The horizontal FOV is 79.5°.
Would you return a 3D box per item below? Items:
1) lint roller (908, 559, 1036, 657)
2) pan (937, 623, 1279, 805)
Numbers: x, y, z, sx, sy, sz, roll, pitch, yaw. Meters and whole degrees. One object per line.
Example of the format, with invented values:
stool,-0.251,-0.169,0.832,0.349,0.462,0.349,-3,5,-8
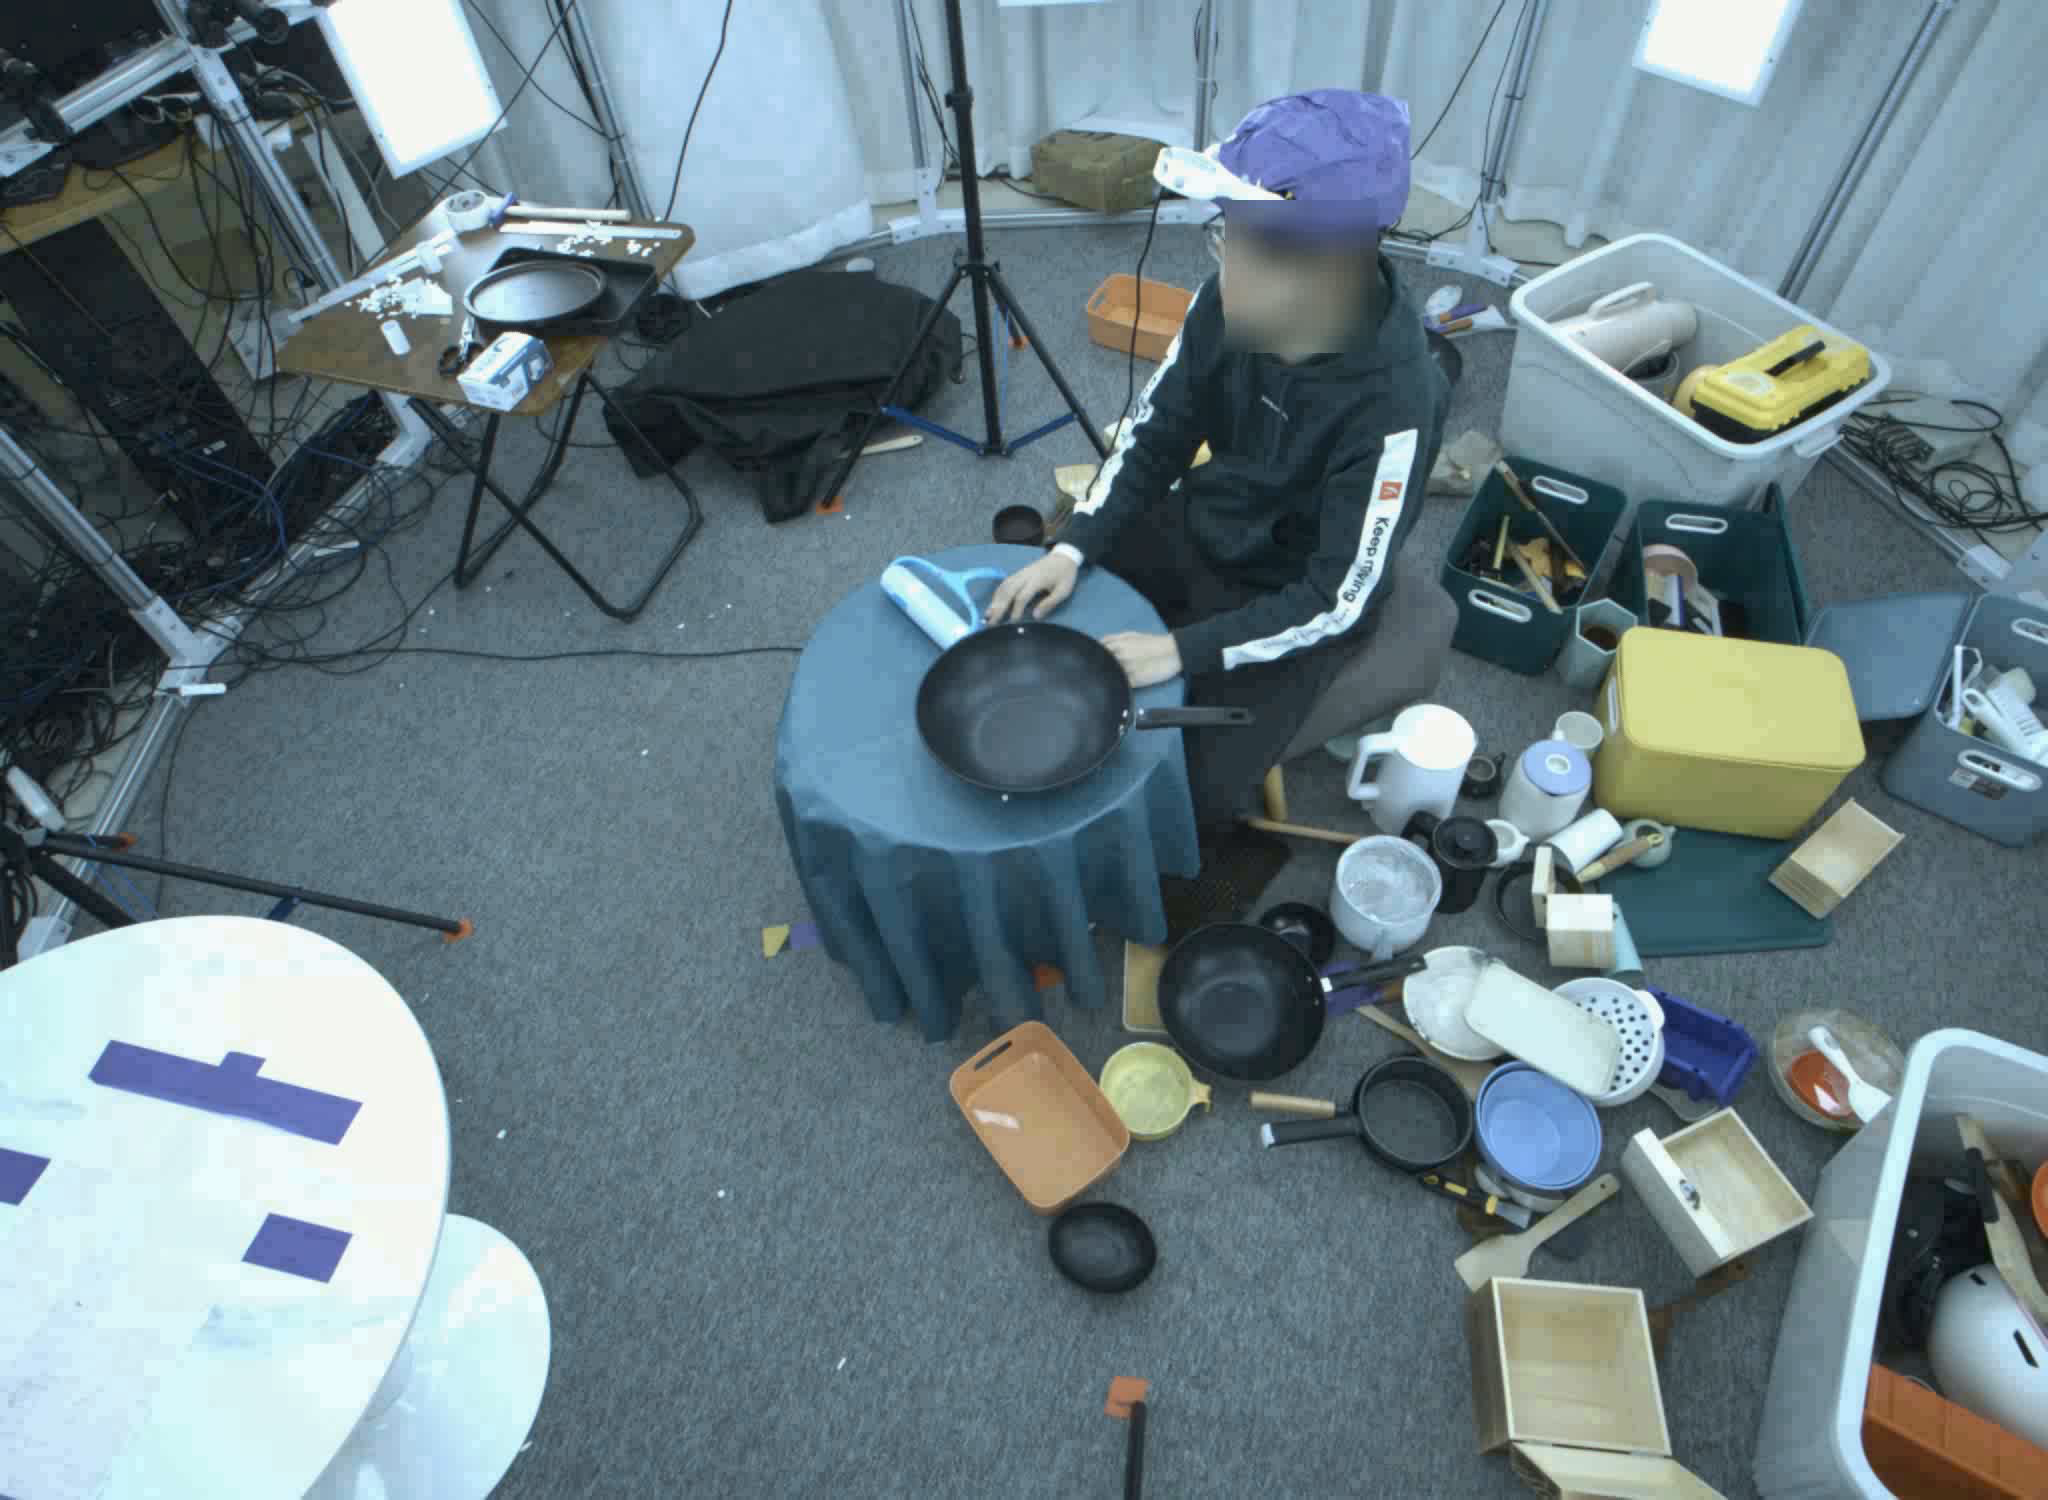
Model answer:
lint roller,-0.059,-0.245,1.925,0.181,0.069,0.224,-36,59,-21
pan,0.115,-0.033,1.736,0.474,0.113,0.308,8,57,8
